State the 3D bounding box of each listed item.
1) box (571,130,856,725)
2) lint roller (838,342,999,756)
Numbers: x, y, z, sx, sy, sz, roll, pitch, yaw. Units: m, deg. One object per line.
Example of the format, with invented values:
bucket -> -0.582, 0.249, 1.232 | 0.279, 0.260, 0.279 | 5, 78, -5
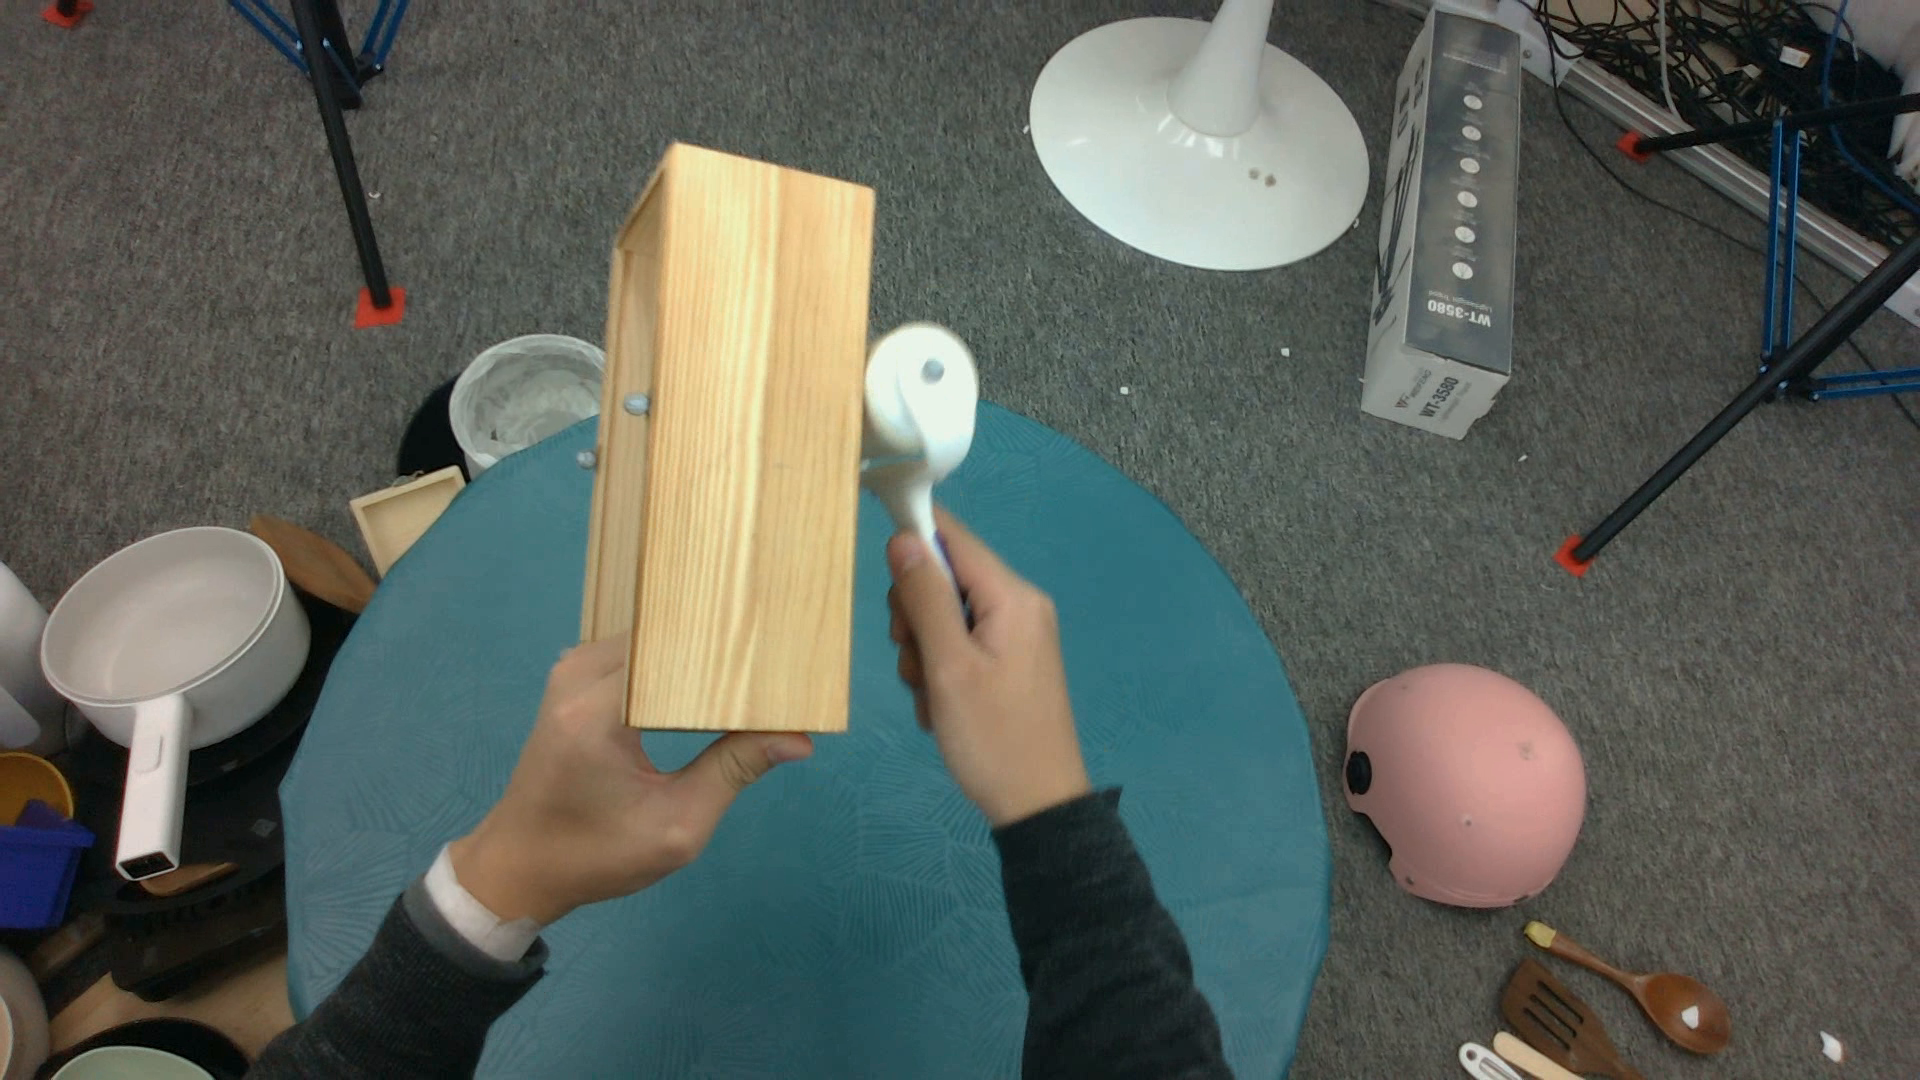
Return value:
box -> -0.098, -0.035, 0.543 | 0.080, 0.107, 0.211 | 5, 79, -25
lint roller -> -0.012, 0.005, 0.581 | 0.050, 0.132, 0.180 | -32, 102, -23
